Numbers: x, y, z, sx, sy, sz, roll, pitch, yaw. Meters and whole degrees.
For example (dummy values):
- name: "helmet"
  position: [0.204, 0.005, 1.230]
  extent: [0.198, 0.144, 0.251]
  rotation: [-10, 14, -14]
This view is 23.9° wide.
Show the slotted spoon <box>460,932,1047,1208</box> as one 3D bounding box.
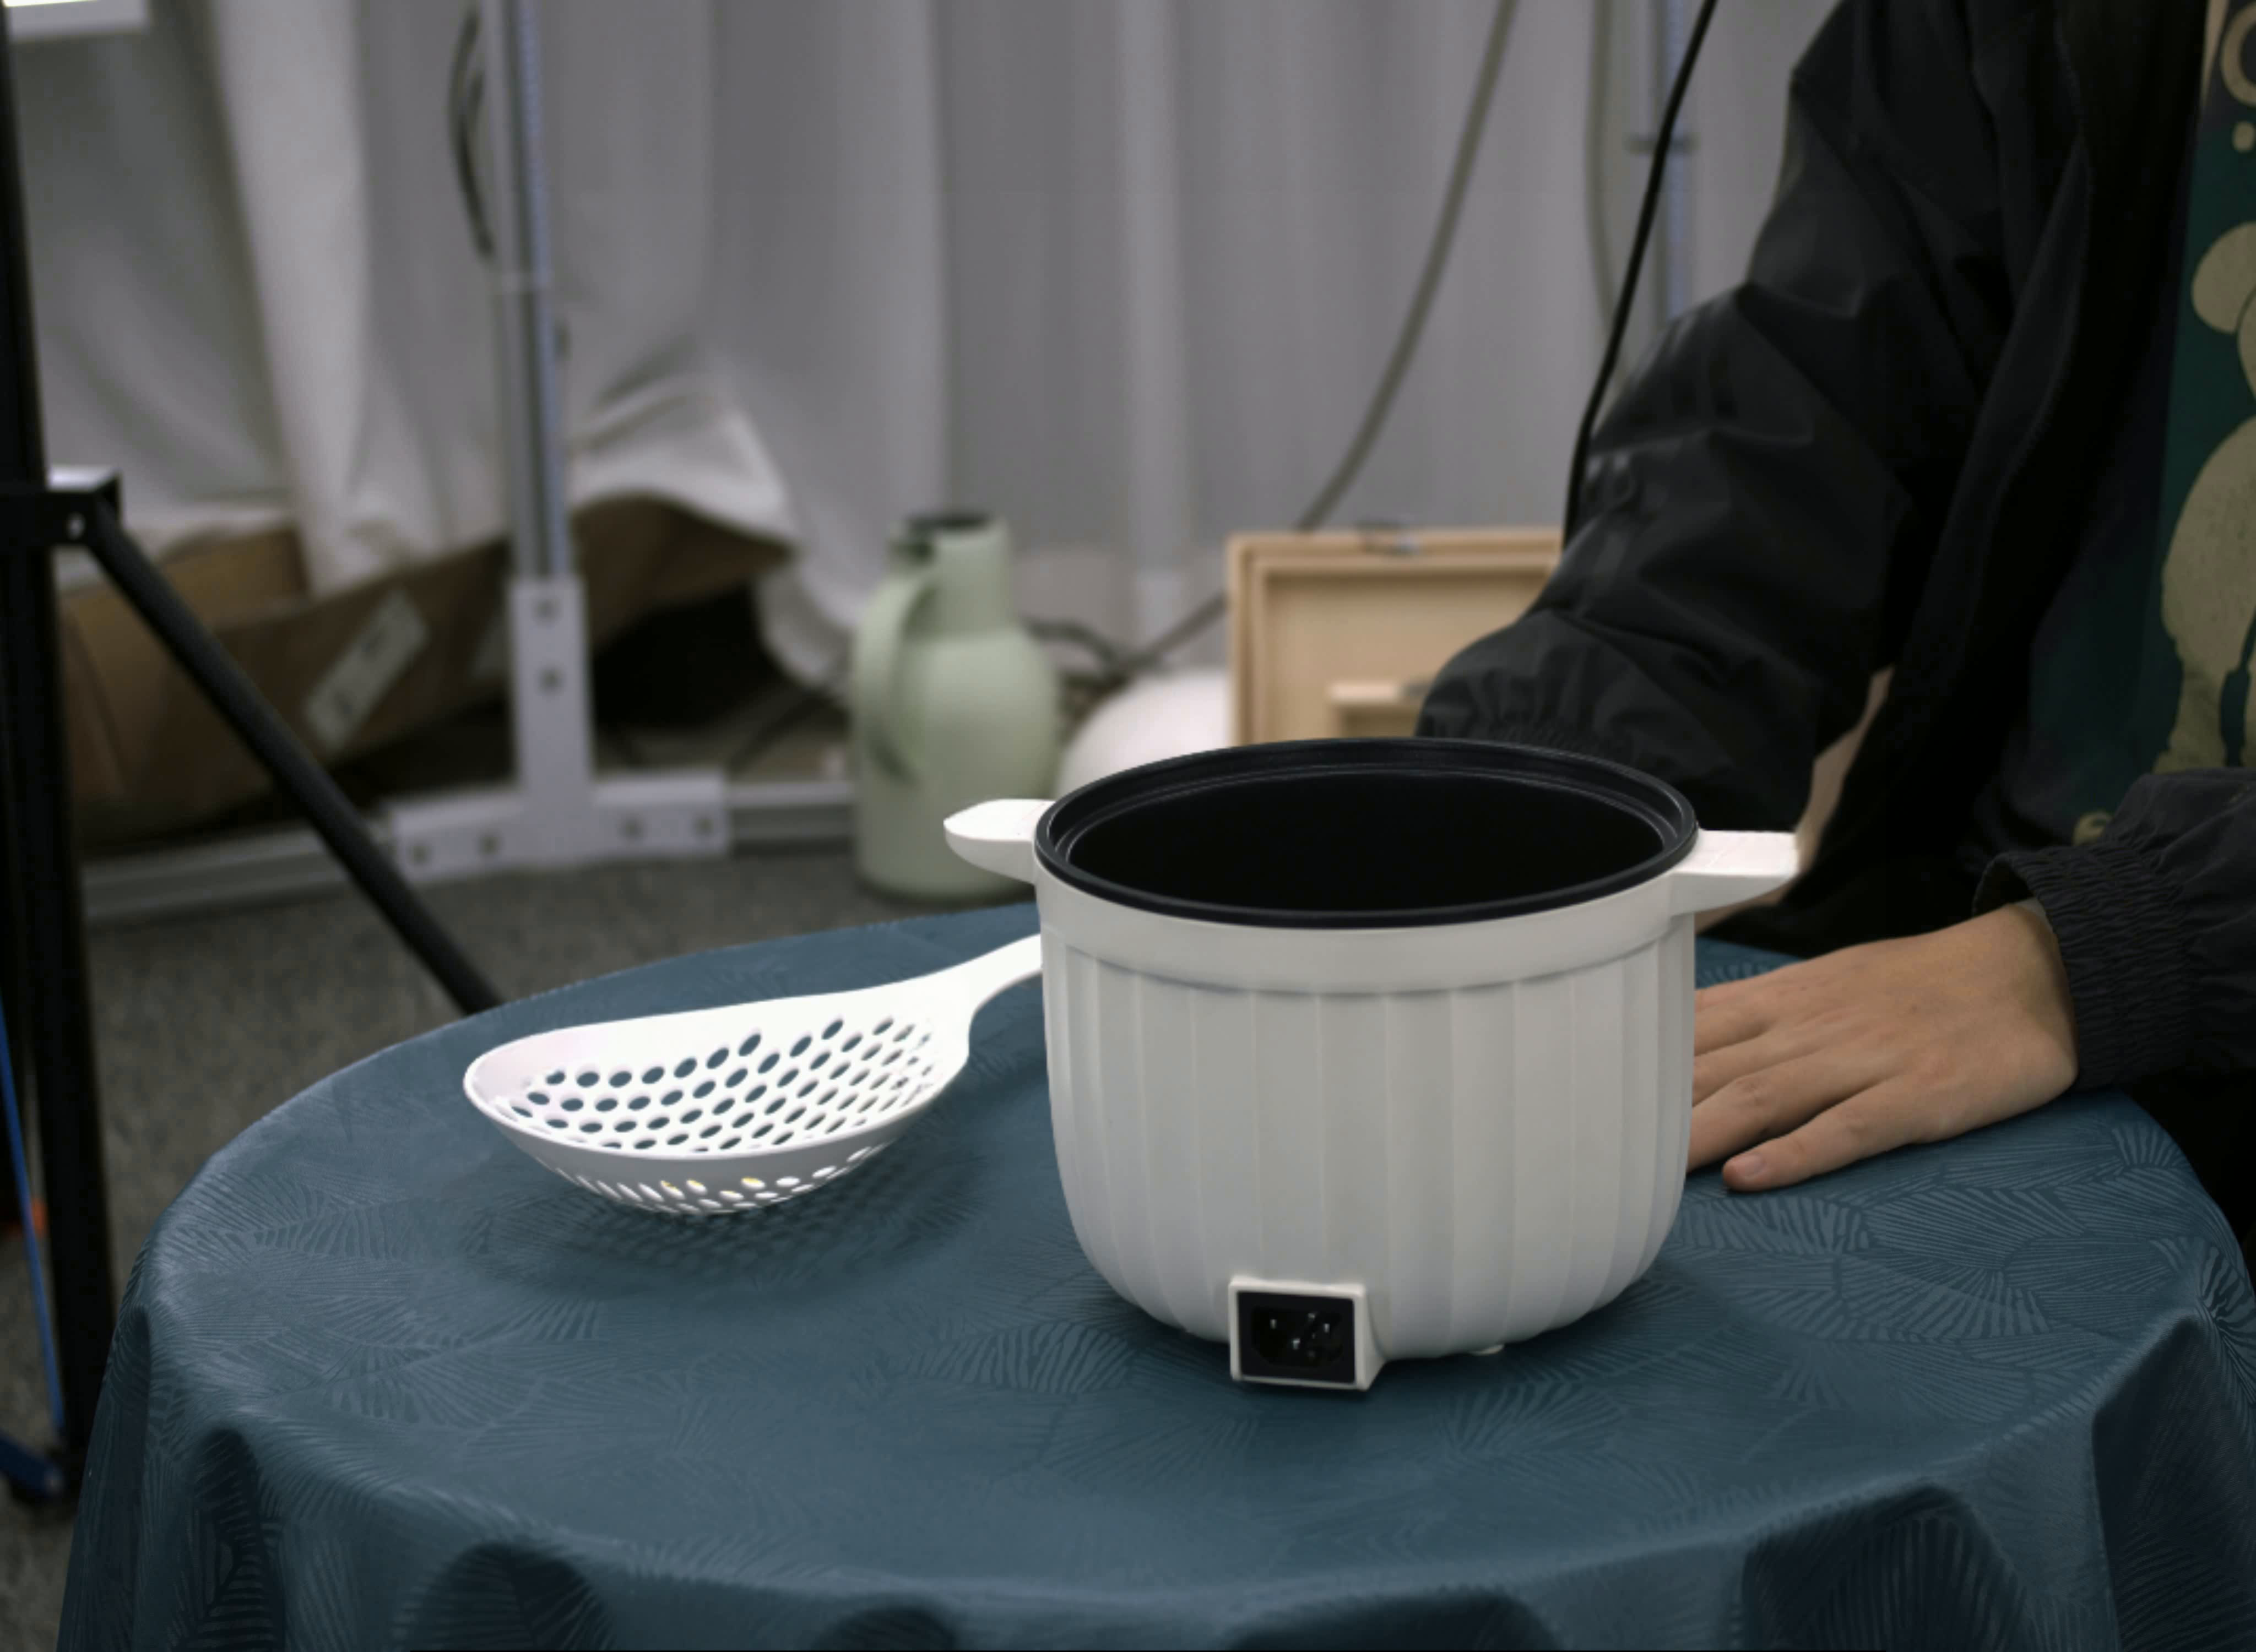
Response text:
- name: "slotted spoon"
  position: [-0.065, 0.063, 1.651]
  extent: [0.139, 0.050, 0.341]
  rotation: [8, 19, 33]

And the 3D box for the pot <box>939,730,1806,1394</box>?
- name: "pot"
  position: [0.066, 0.061, 1.463]
  extent: [0.242, 0.142, 0.189]
  rotation: [4, 19, 16]
